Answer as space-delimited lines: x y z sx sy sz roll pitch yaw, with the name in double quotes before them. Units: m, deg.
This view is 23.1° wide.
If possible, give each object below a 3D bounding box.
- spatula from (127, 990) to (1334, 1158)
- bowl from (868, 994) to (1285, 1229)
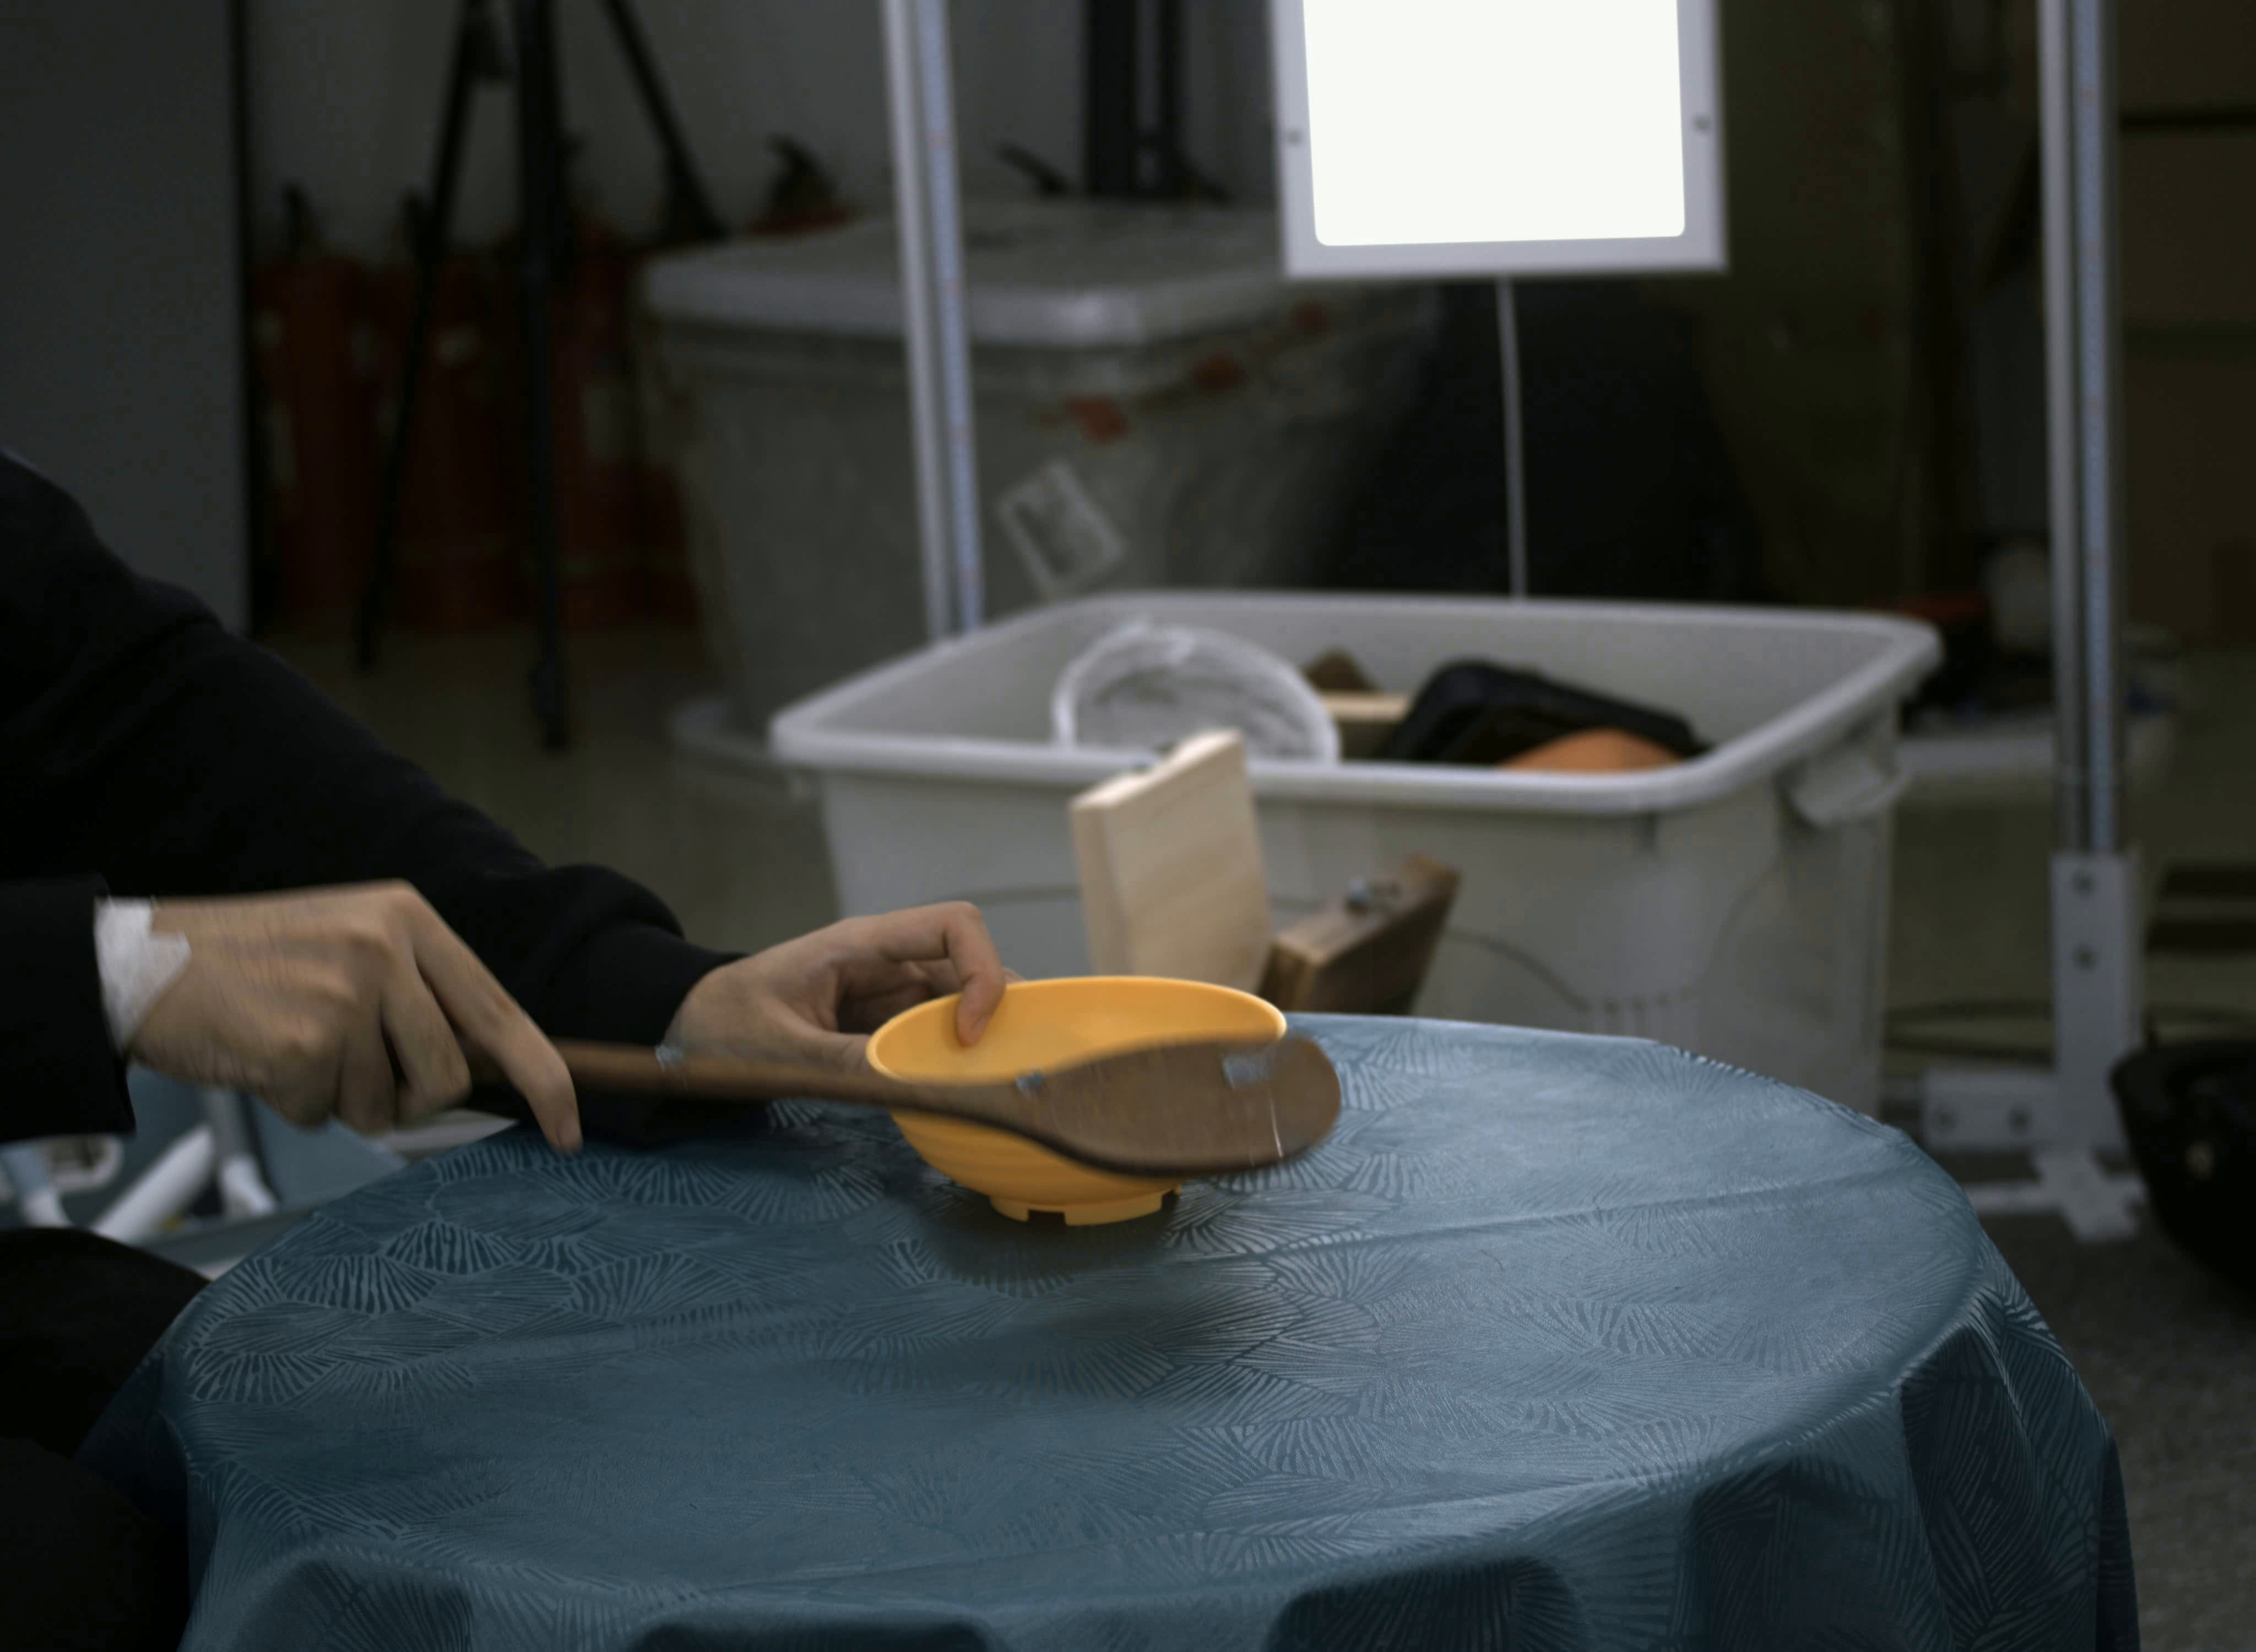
"spatula" -0.127 0.072 1.746 0.386 0.016 0.095 4 24 5
"bowl" -0.016 0.101 1.888 0.145 0.060 0.145 -4 11 -1
